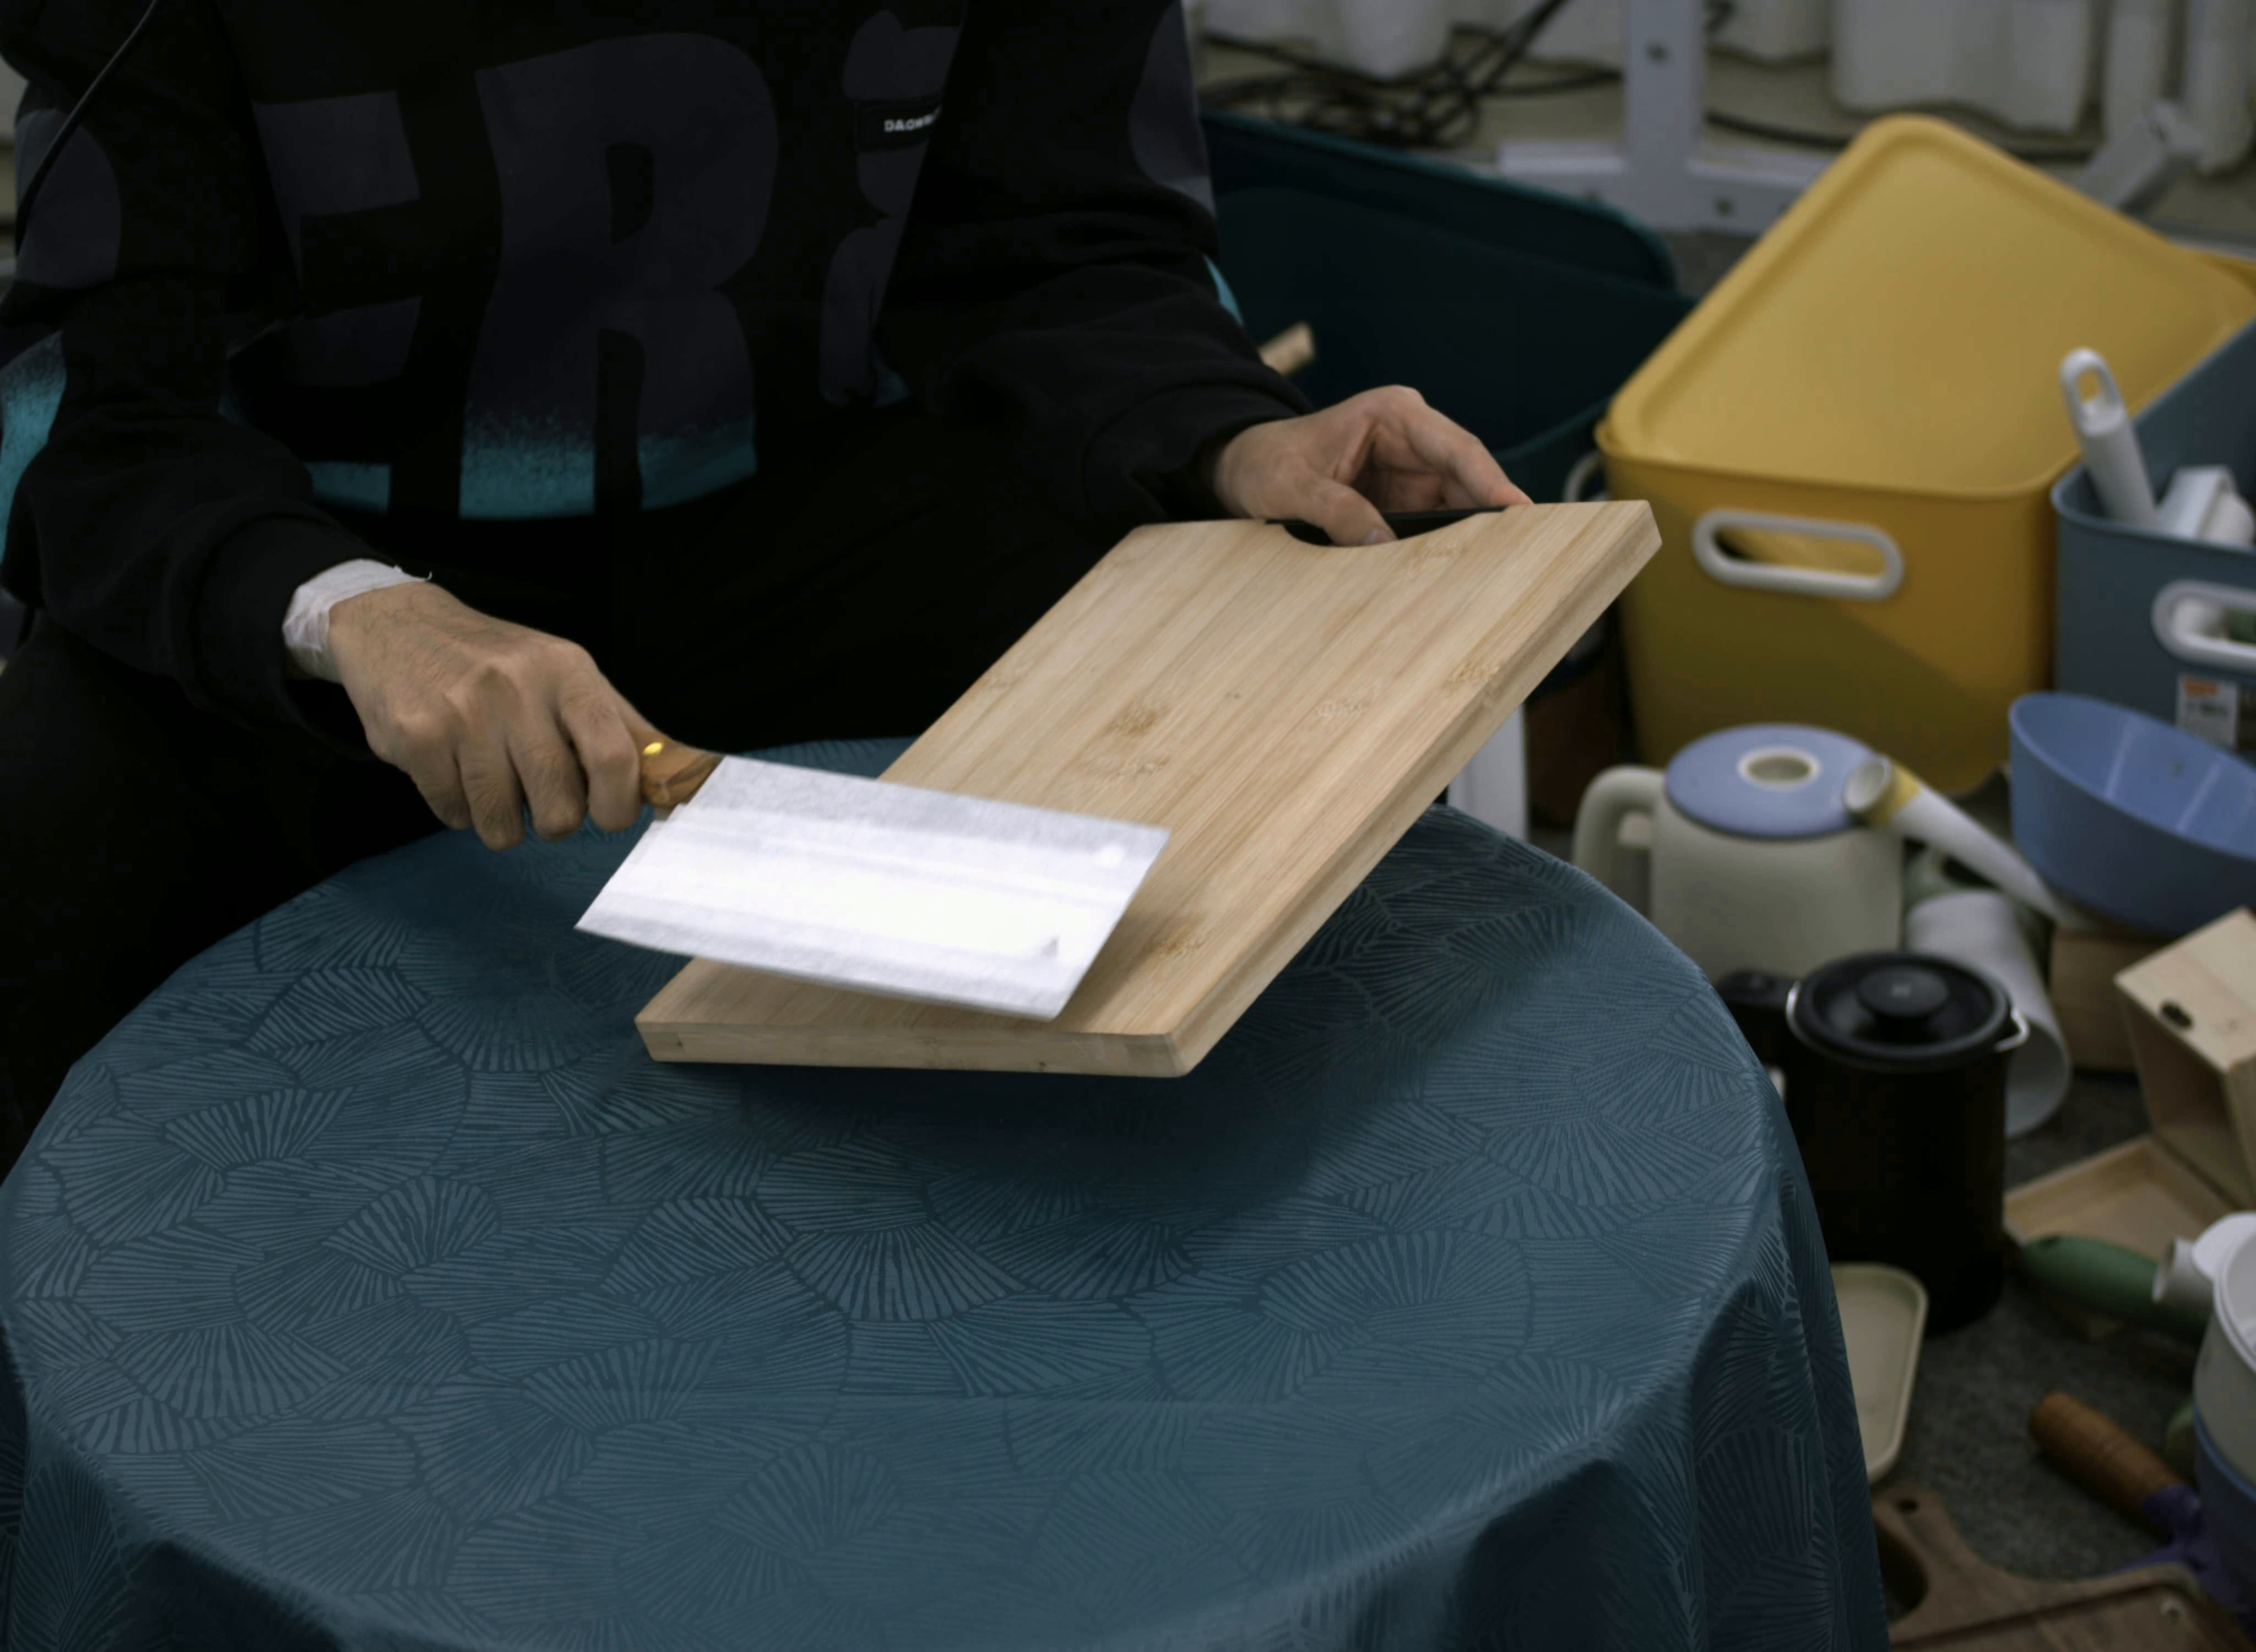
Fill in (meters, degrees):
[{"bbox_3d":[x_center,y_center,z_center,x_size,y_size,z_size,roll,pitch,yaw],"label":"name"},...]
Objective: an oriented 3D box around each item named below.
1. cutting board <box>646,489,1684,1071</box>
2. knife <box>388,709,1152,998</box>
[{"bbox_3d":[0.015,-0.020,1.997,0.248,0.023,0.355,-1,32,37],"label":"cutting board"},{"bbox_3d":[-0.137,0.012,1.906,0.304,0.021,0.094,10,47,29],"label":"knife"}]
